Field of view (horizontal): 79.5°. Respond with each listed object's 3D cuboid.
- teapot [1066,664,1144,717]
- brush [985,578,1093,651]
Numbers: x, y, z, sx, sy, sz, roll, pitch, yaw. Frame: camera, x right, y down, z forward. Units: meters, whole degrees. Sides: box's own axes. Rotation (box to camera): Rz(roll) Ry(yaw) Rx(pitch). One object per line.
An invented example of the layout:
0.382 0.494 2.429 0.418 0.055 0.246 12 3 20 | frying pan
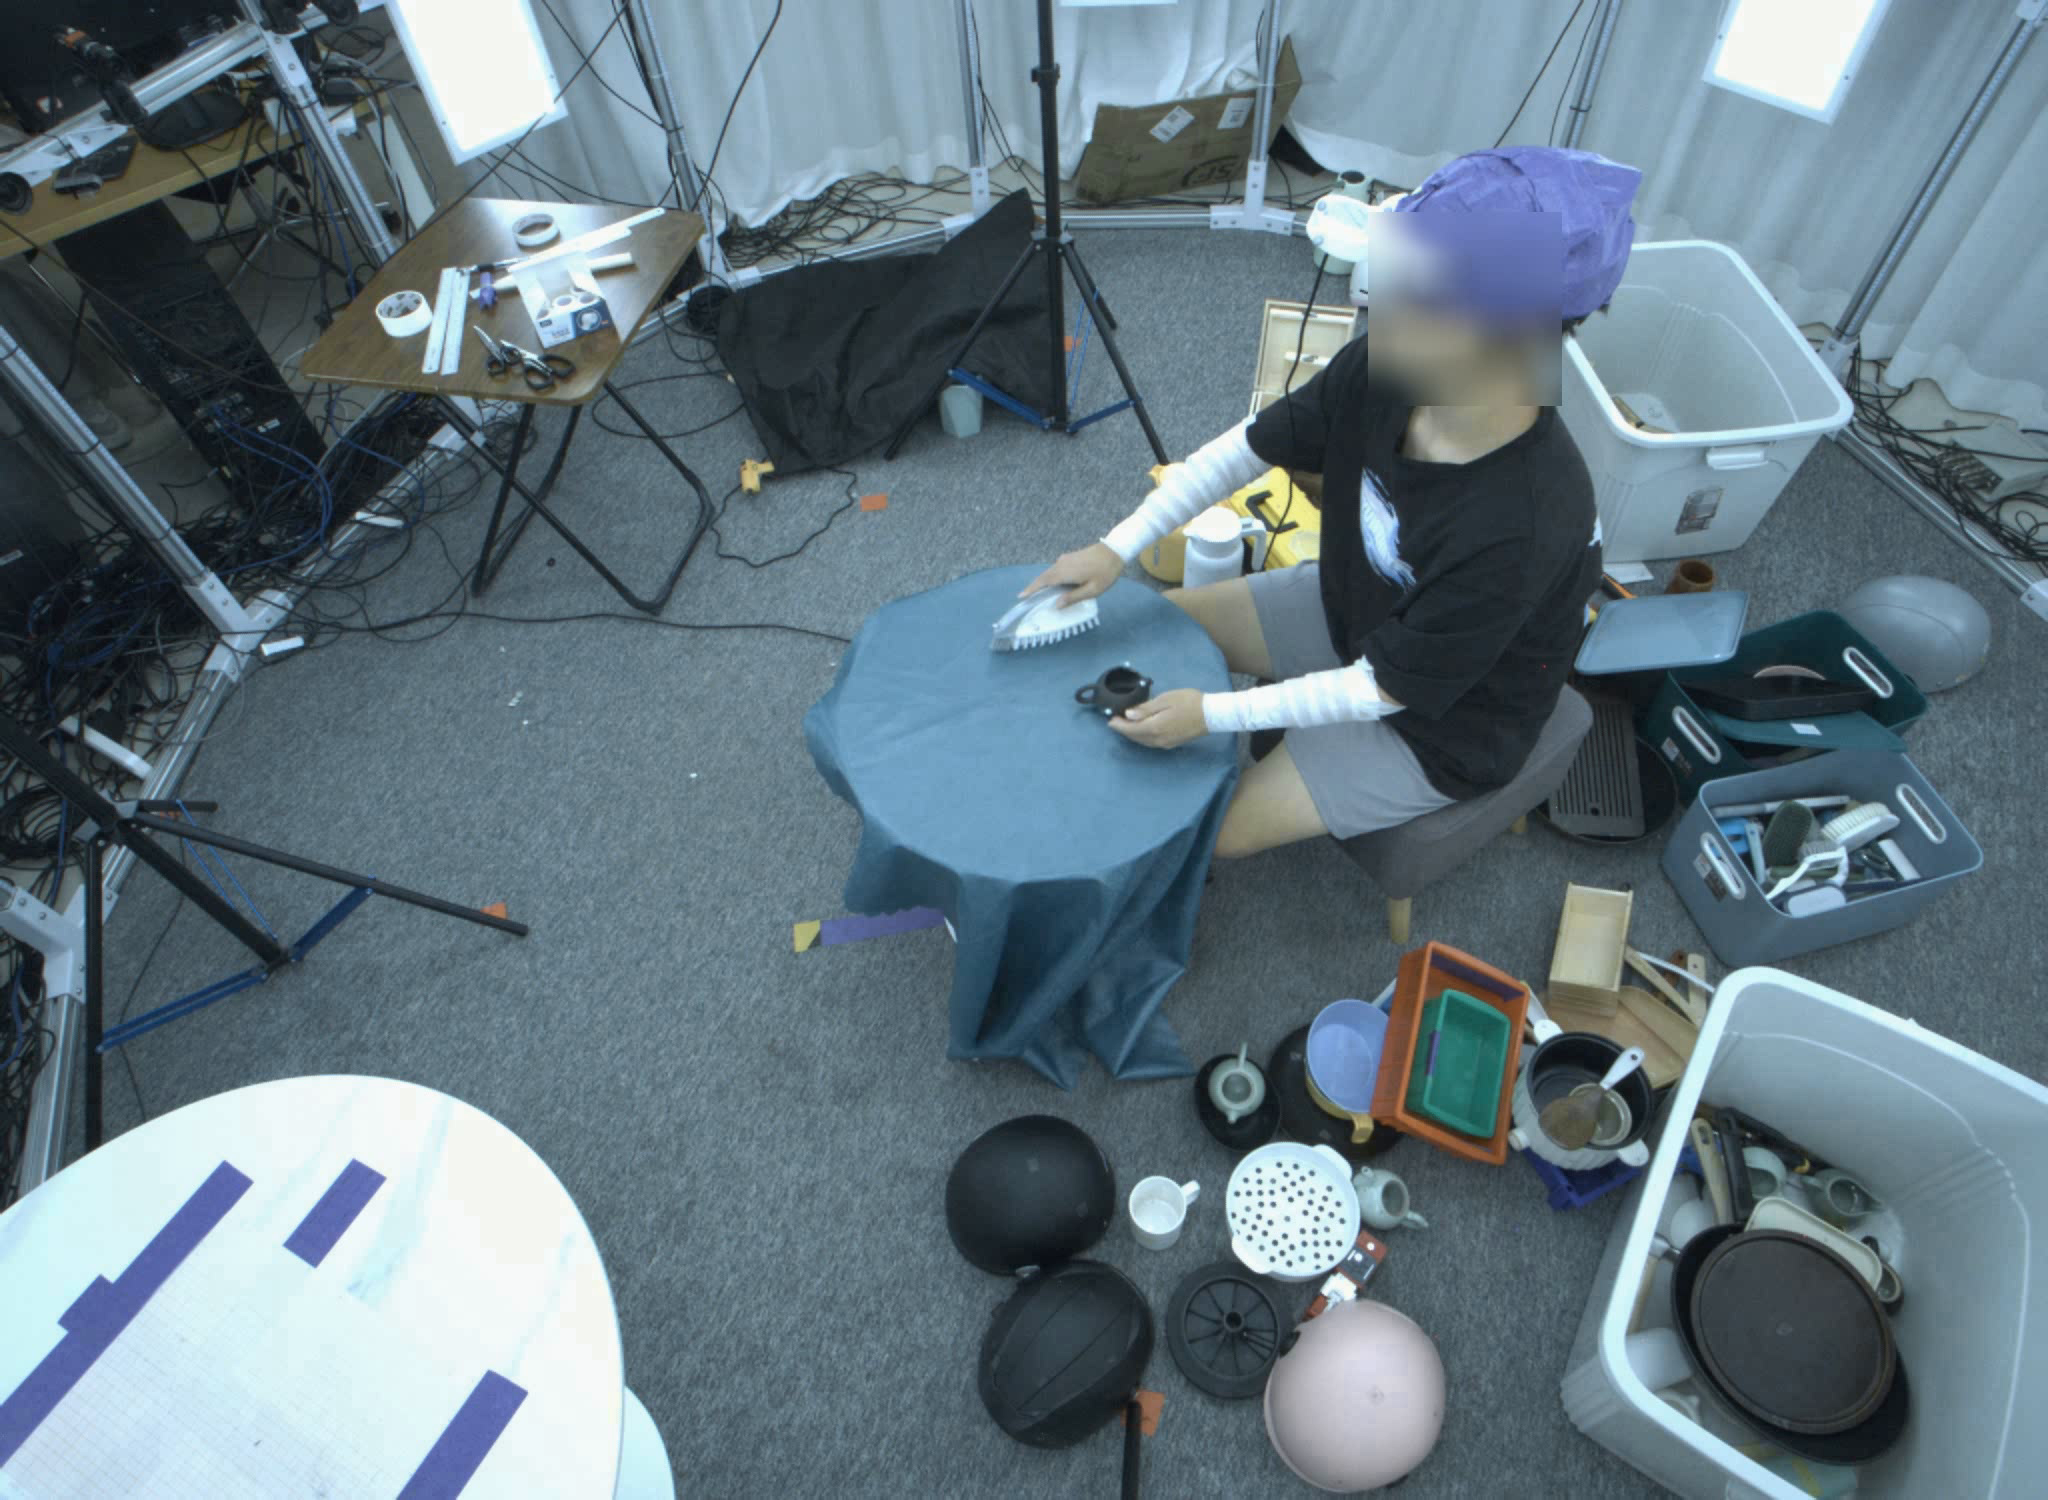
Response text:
0.119 -0.088 1.806 0.114 0.053 0.082 -5 54 -2 | teapot
0.018 -0.208 1.863 0.177 0.095 0.060 -21 54 -12 | brush
